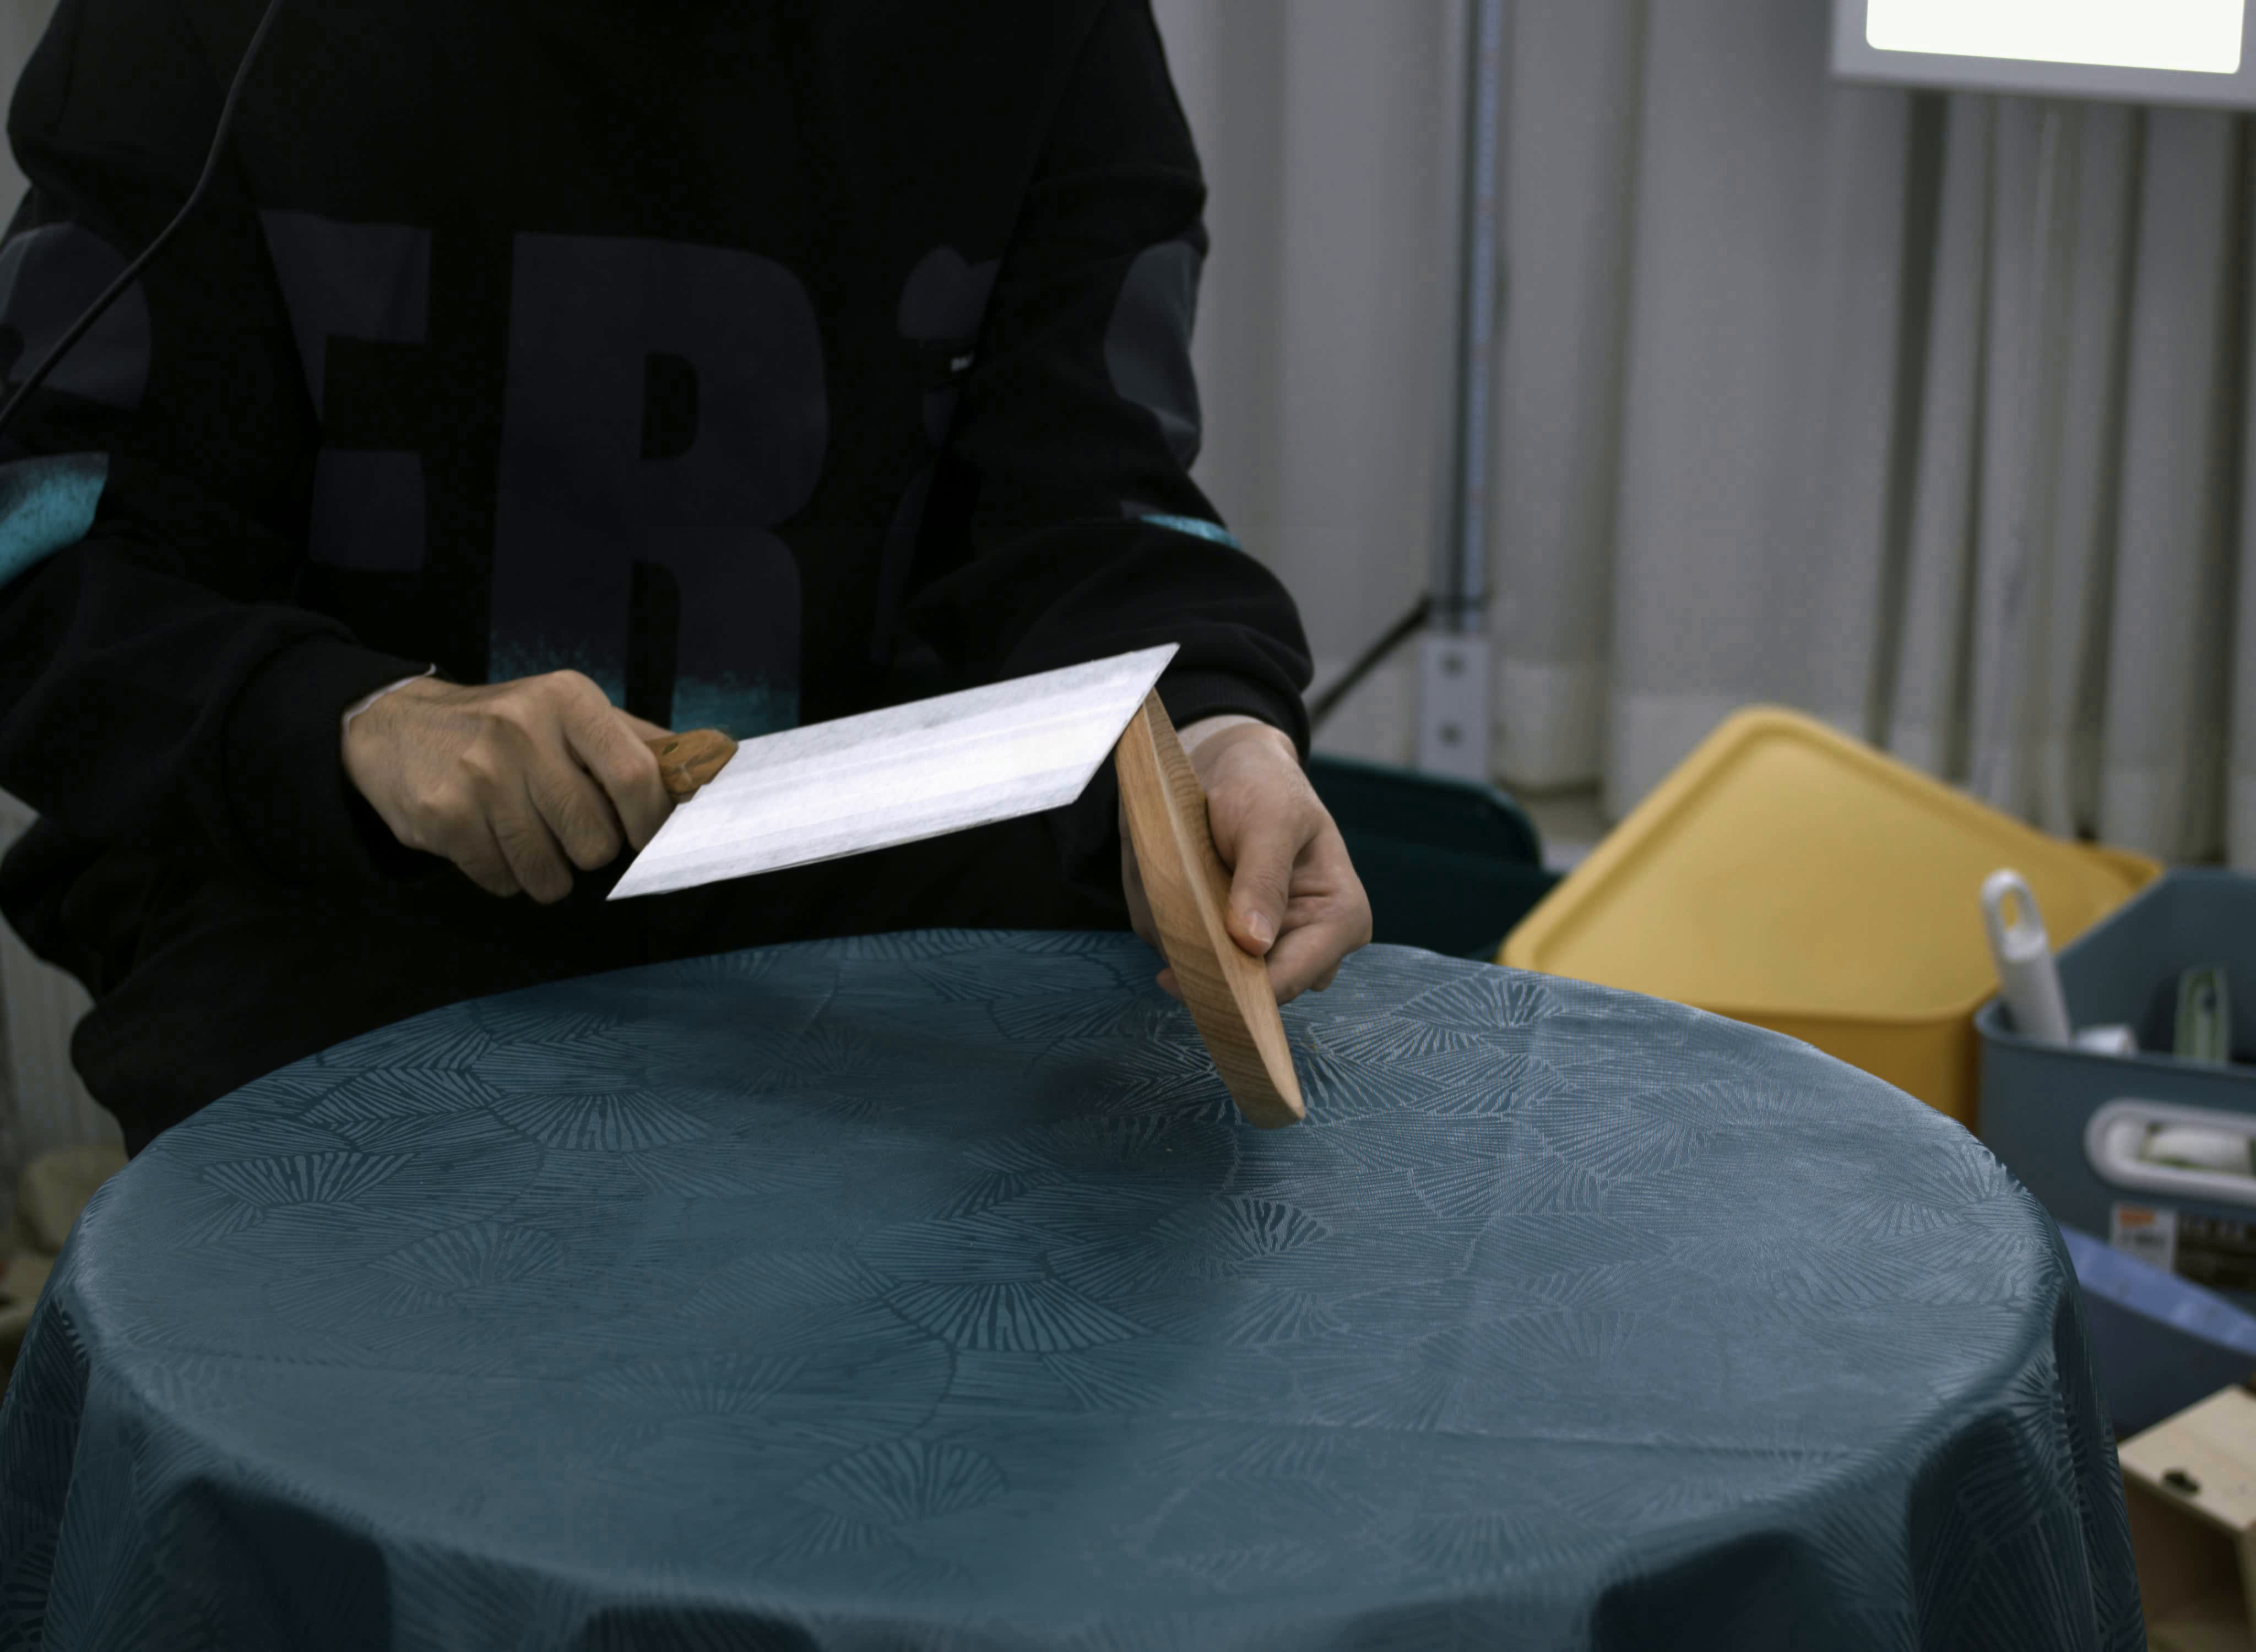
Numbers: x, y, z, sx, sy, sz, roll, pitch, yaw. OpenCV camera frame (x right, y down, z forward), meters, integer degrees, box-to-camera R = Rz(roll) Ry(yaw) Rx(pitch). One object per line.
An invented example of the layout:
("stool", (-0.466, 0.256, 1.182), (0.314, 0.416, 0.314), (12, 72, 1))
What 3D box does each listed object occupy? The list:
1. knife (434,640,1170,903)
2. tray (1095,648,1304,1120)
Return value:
("knife", (-0.122, -0.009, 1.735), (0.303, 0.021, 0.092), (-12, 30, 34))
("tray", (0.020, 0.017, 1.655), (0.020, 0.103, 0.229), (-23, 24, 3))
